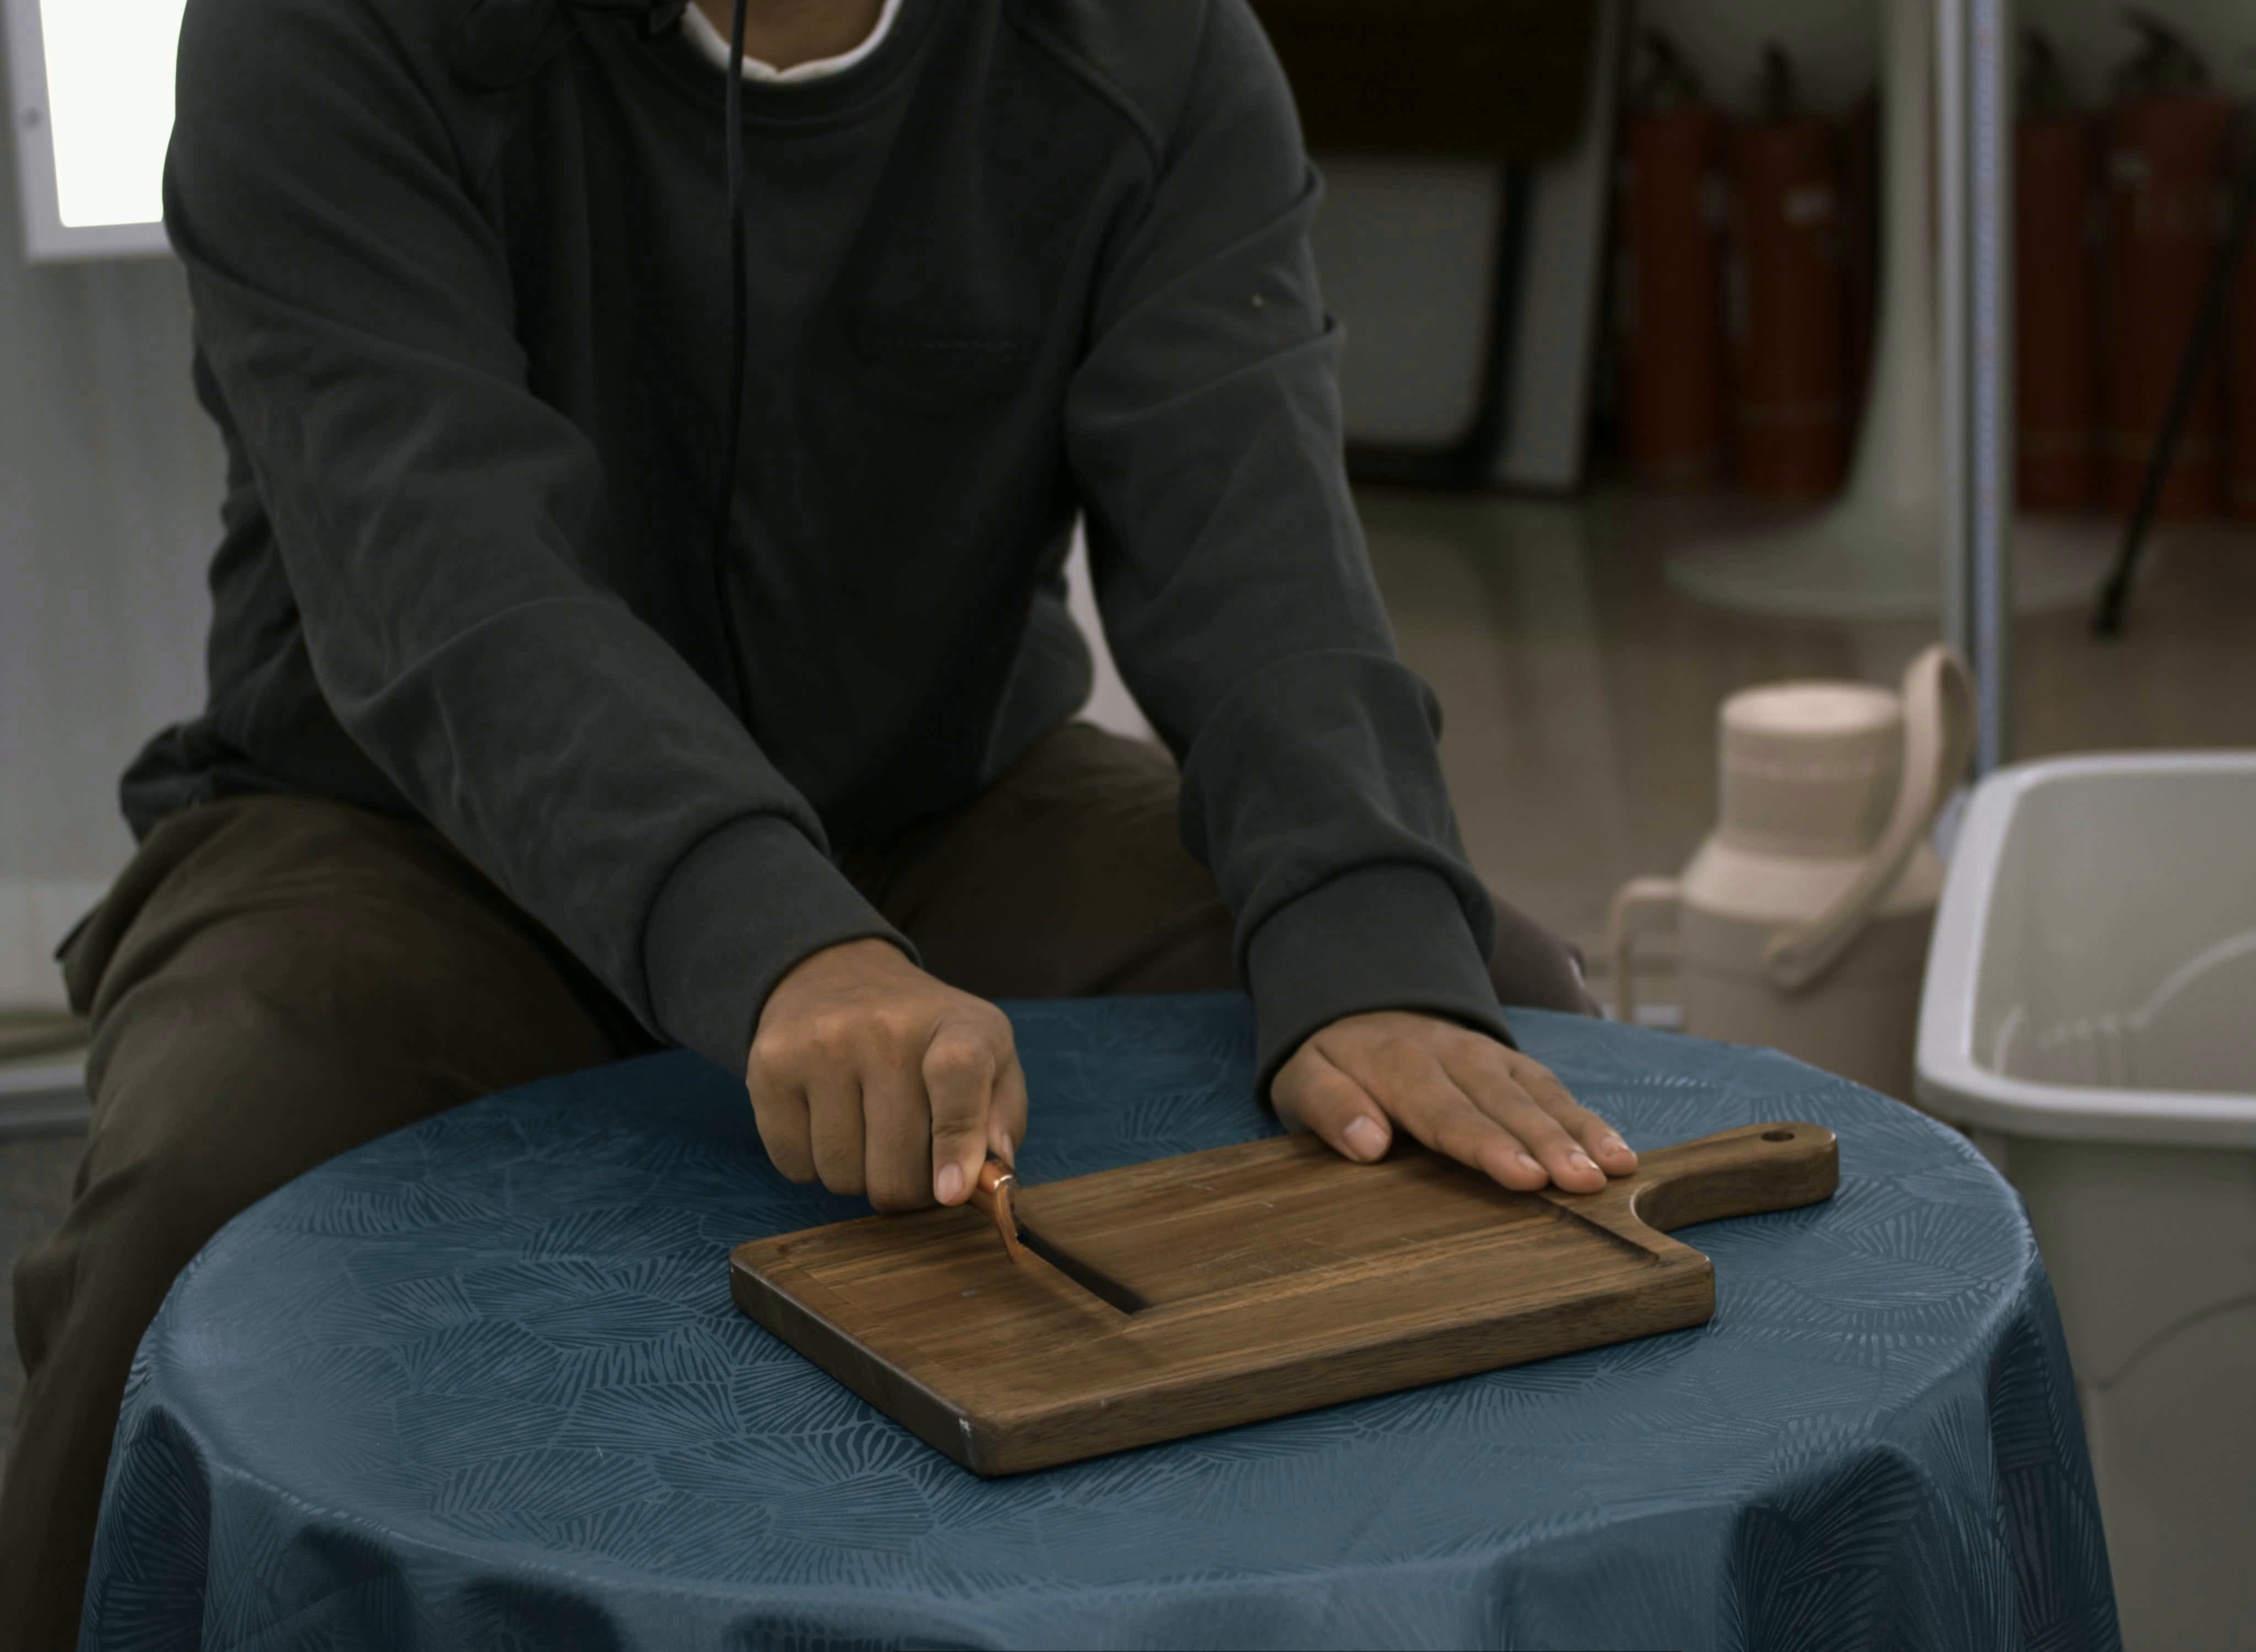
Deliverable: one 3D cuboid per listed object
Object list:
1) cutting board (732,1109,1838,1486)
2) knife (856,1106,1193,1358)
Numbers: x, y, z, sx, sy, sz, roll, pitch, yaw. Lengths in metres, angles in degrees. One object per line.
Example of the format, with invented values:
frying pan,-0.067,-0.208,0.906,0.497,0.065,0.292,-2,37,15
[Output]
cutting board,0.071,0.132,1.666,0.344,0.023,0.203,-10,15,-23
knife,-0.033,0.124,1.654,0.017,0.026,0.228,-19,21,-21
